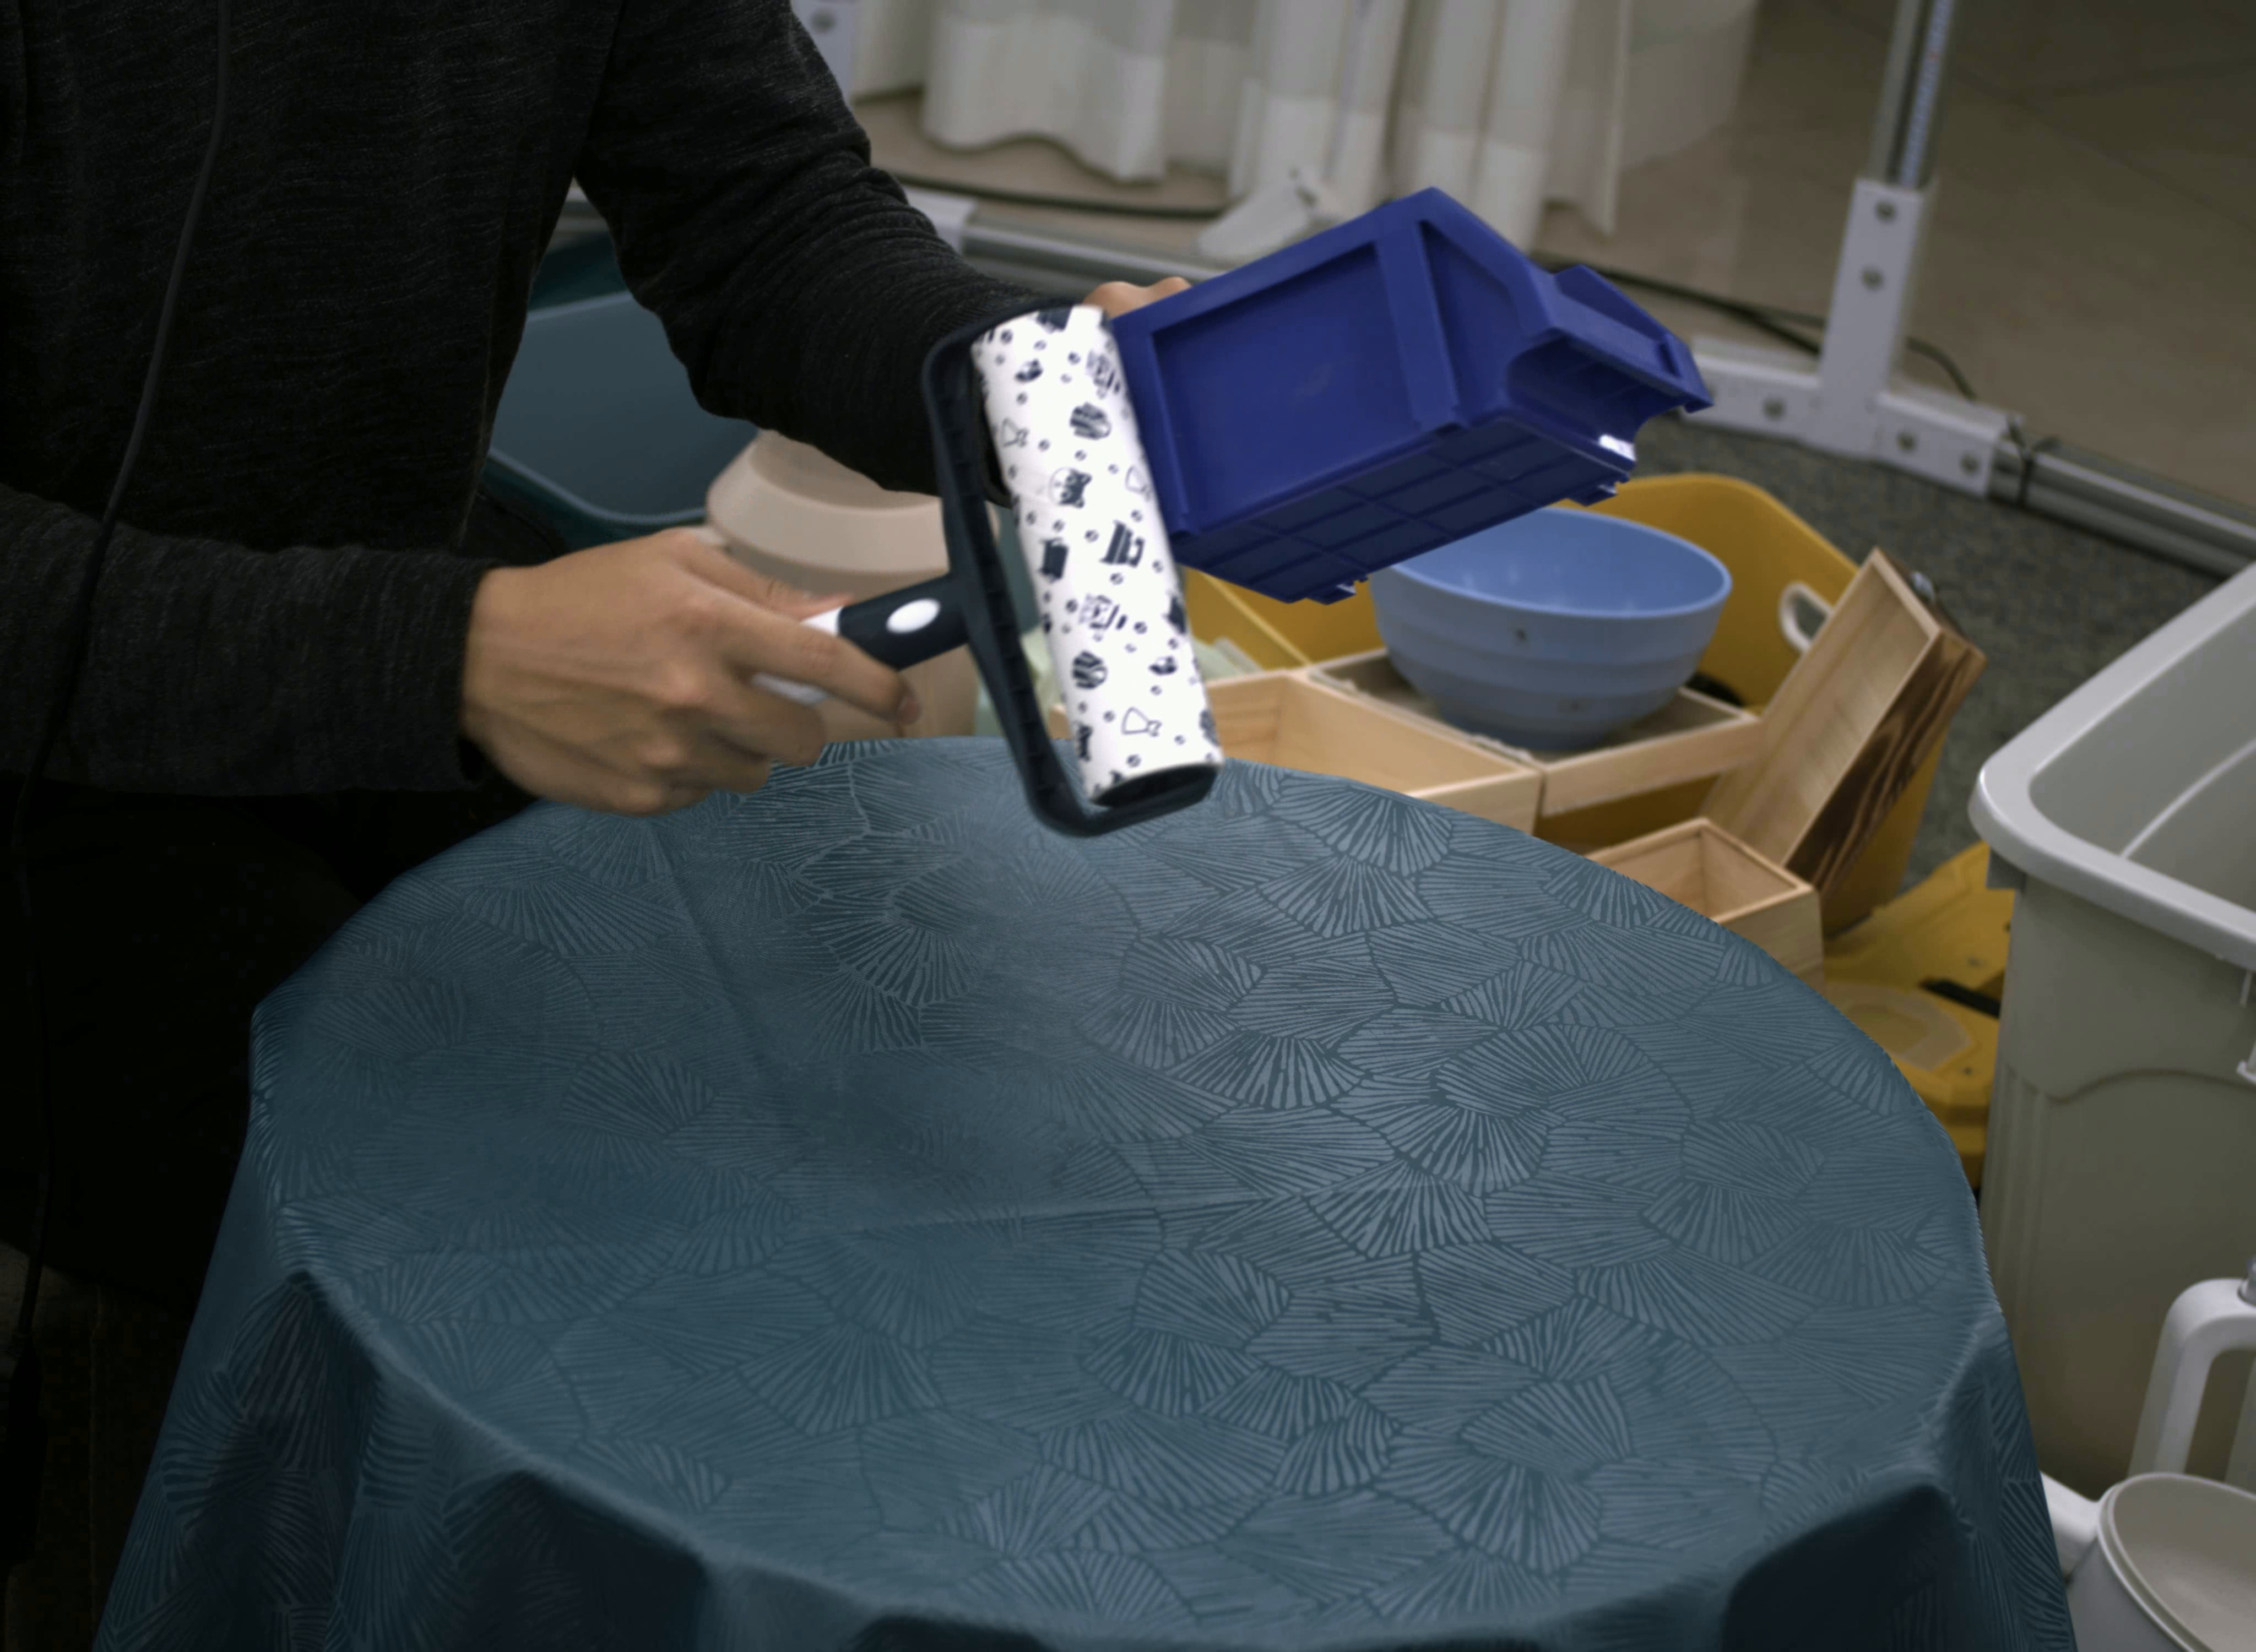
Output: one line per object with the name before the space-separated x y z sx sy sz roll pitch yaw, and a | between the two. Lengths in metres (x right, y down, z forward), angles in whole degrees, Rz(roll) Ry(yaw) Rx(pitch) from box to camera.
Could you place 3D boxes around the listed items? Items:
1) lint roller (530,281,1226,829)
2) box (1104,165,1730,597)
lint roller | -0.097 -0.059 1.777 0.247 0.177 0.050 -19 -11 21
box | 0.094 -0.148 1.787 0.179 0.082 0.123 -24 -22 29
